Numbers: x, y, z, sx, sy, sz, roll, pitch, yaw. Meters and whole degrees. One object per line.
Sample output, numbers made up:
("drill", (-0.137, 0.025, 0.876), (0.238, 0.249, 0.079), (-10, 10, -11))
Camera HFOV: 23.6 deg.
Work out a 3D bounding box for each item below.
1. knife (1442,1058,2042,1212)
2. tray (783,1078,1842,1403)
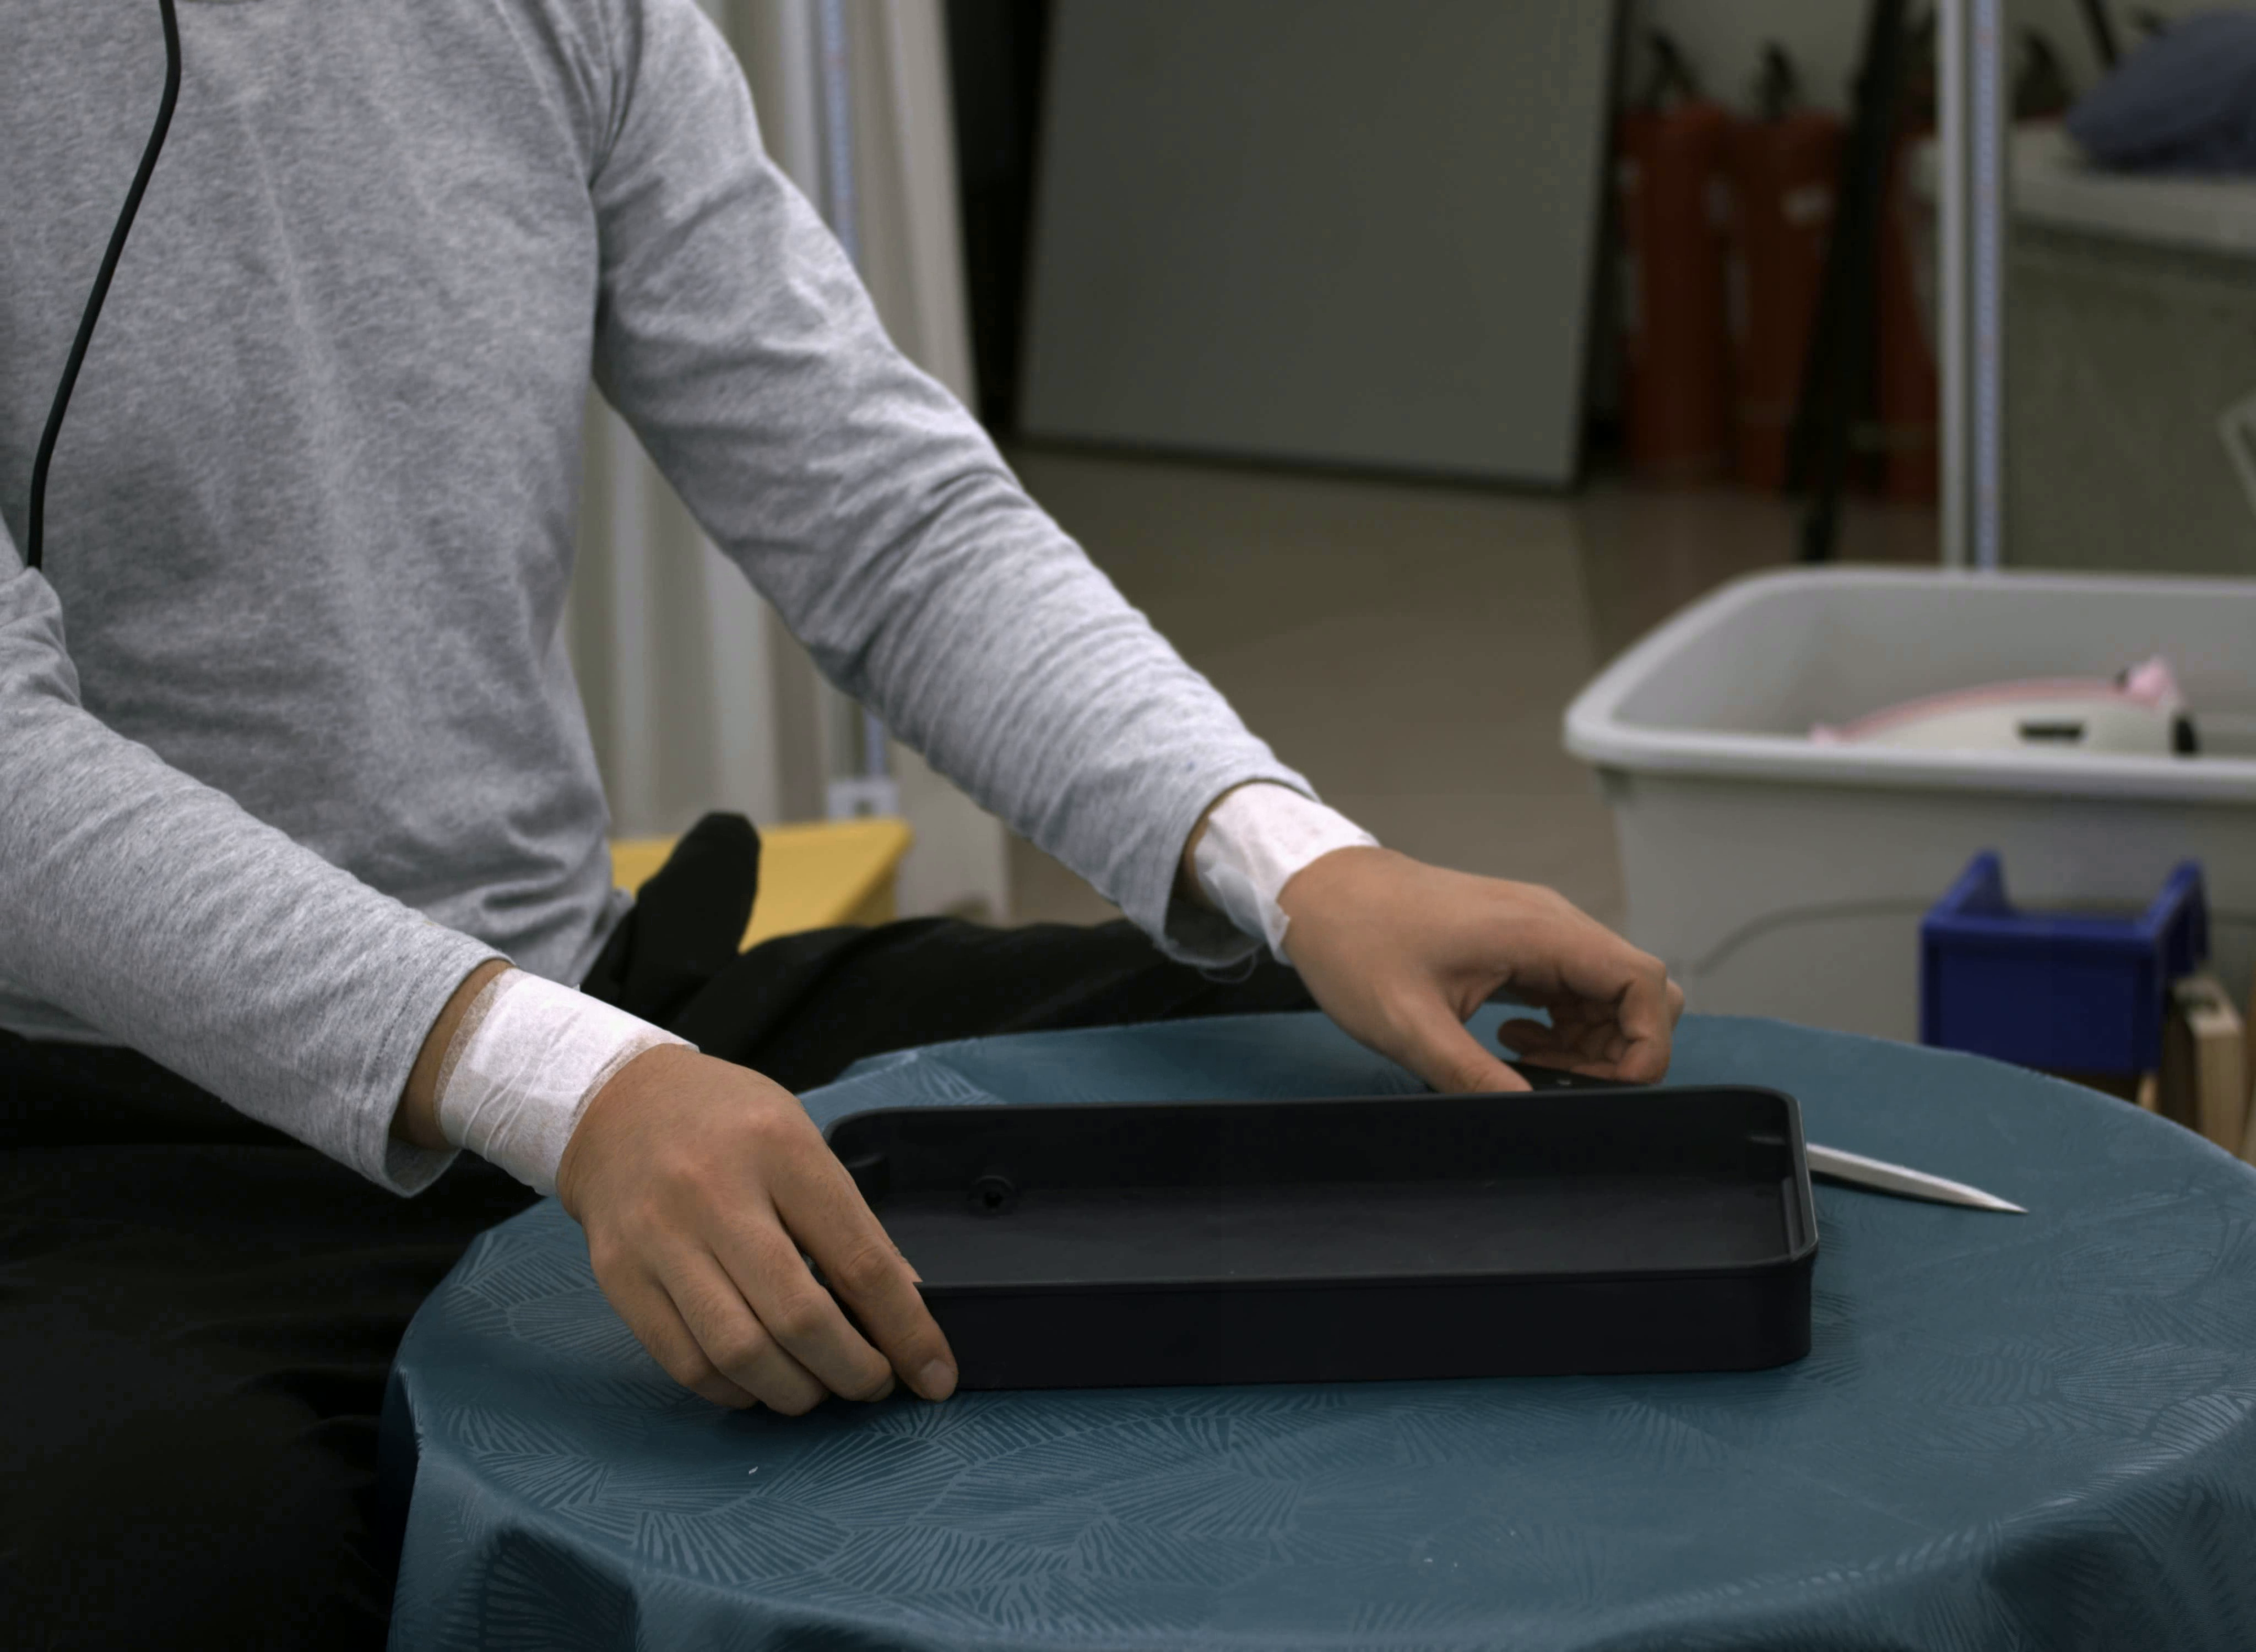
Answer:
("knife", (0.196, 0.104, 1.765), (0.240, 0.016, 0.024), (11, 17, 41))
("tray", (0.059, 0.126, 1.663), (0.315, 0.037, 0.184), (-3, 13, 6))
